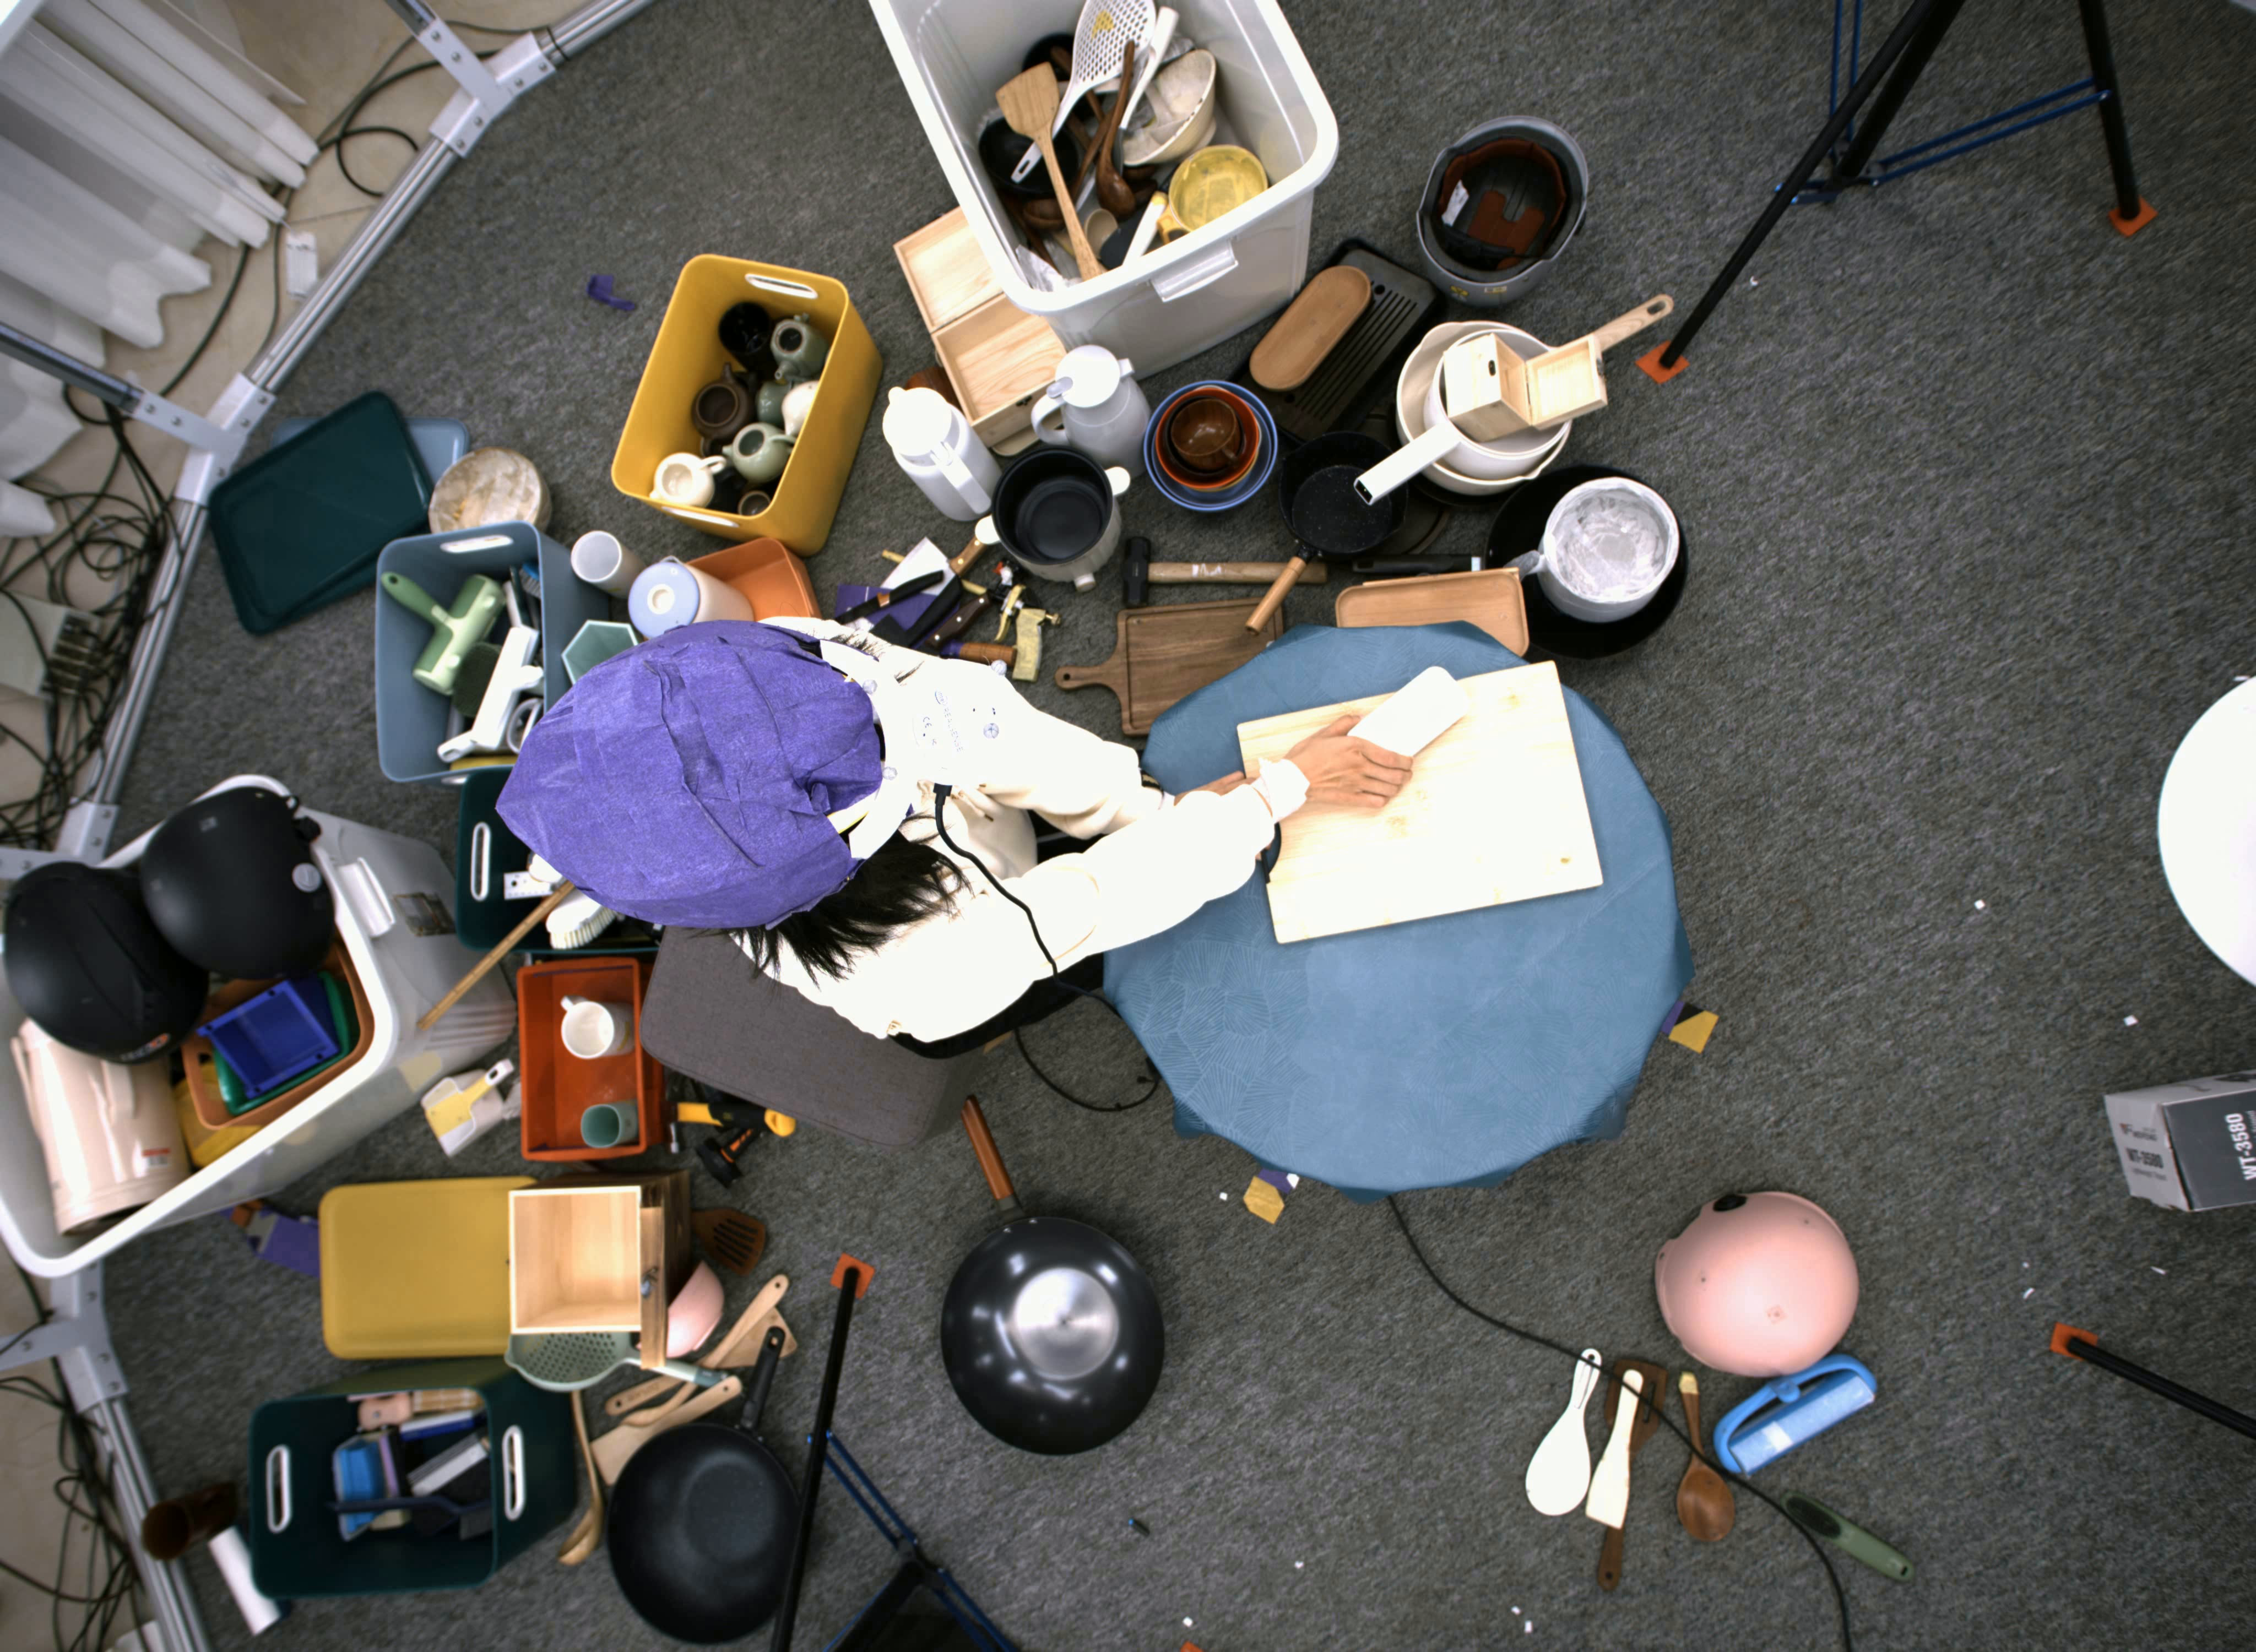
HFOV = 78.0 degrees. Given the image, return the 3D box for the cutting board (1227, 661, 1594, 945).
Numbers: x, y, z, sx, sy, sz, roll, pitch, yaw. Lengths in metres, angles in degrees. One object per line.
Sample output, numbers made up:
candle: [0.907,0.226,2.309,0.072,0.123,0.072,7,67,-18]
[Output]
cutting board: [0.297,-0.025,1.453,0.350,0.023,0.249,-12,84,10]

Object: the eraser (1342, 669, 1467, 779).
eraser: [0.287,-0.108,1.433,0.132,0.034,0.063,-37,81,5]
